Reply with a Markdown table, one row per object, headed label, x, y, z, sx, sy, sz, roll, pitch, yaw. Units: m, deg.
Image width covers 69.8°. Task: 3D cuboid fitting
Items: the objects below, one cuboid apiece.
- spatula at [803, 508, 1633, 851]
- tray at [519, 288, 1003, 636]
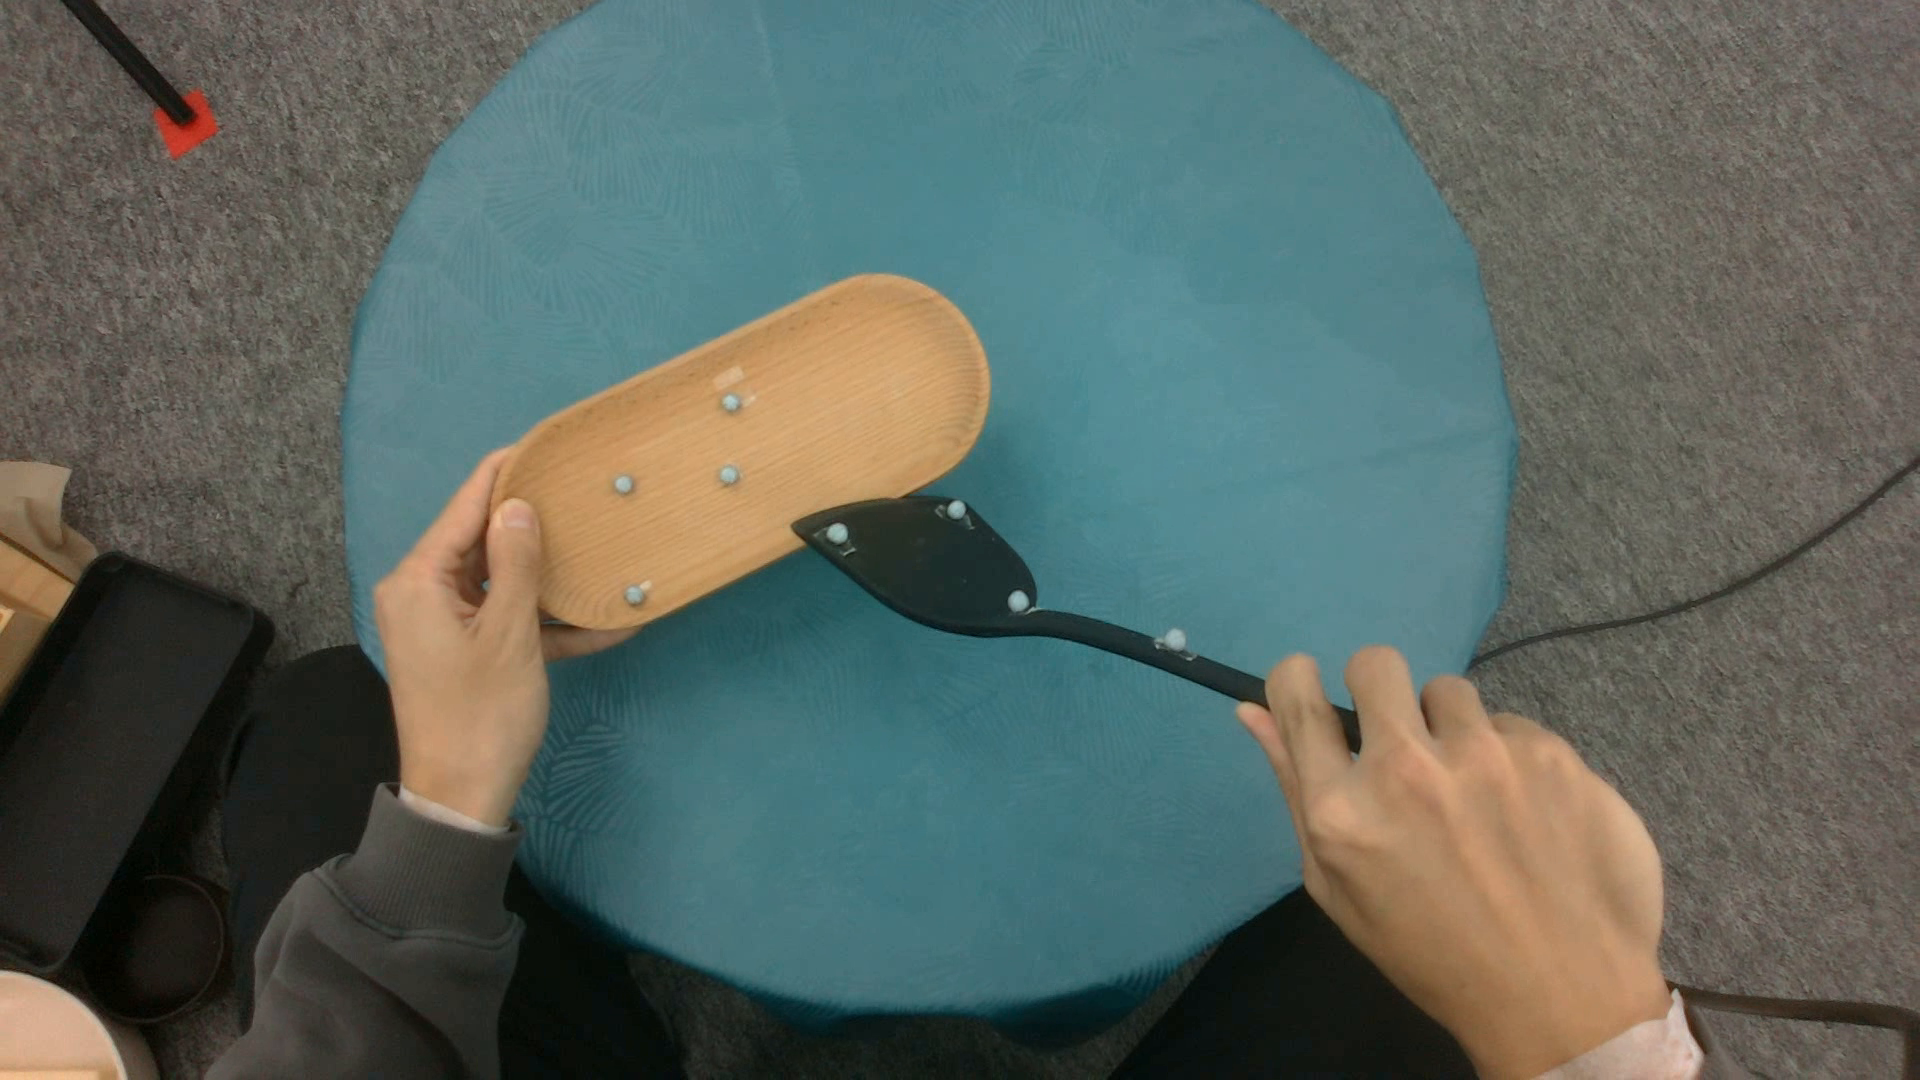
| label | x | y | z | sx | sy | sz | roll | pitch | yaw |
| --- | --- | --- | --- | --- | --- | --- | --- | --- | --- |
| spatula | 0.081 | 0.043 | 0.512 | 0.326 | 0.100 | 0.040 | 16 | 110 | 38 |
| tray | -0.089 | -0.036 | 0.630 | 0.231 | 0.020 | 0.102 | -27 | 86 | -8 |
